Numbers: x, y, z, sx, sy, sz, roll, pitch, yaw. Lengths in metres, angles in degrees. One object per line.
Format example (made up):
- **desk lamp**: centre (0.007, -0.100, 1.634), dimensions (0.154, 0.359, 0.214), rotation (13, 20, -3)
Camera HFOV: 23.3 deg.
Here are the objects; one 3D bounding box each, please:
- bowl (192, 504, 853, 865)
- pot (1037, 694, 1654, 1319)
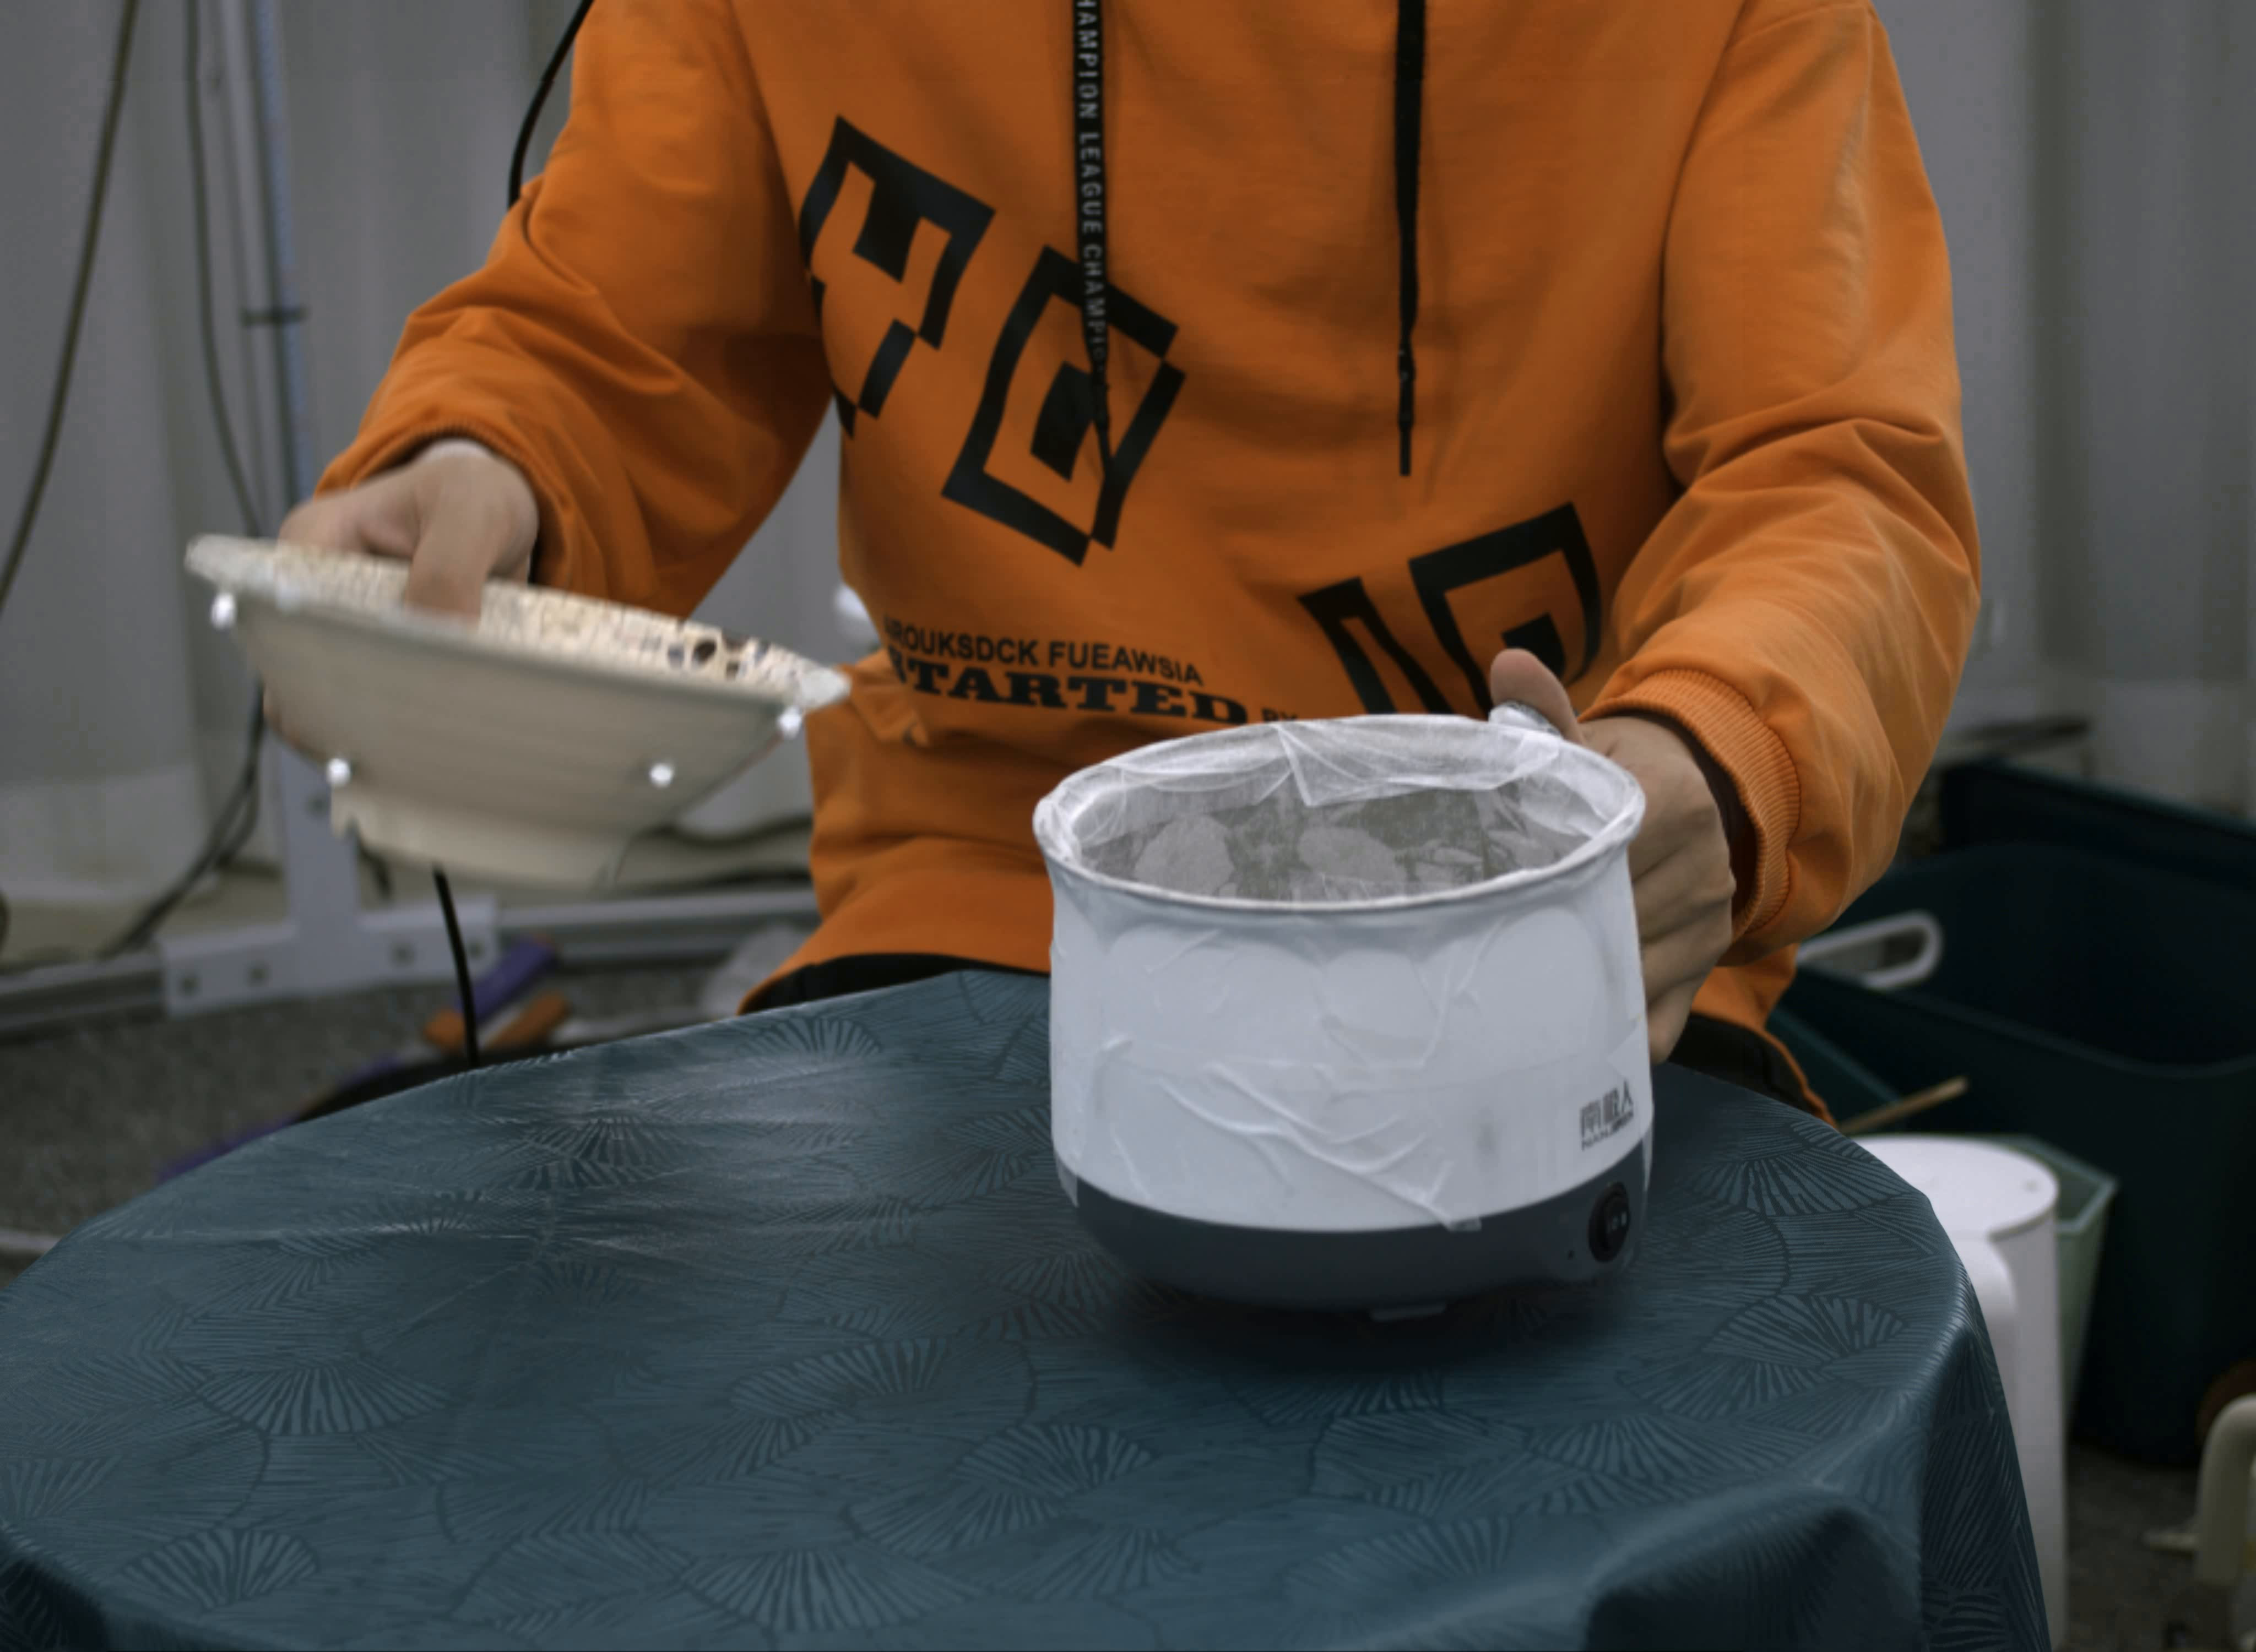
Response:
- **bowl**: centre (-0.189, -0.036, 1.646), dimensions (0.203, 0.078, 0.204), rotation (14, 2, -1)
- **pot**: centre (0.079, 0.045, 1.616), dimensions (0.179, 0.136, 0.234), rotation (9, 21, 32)
